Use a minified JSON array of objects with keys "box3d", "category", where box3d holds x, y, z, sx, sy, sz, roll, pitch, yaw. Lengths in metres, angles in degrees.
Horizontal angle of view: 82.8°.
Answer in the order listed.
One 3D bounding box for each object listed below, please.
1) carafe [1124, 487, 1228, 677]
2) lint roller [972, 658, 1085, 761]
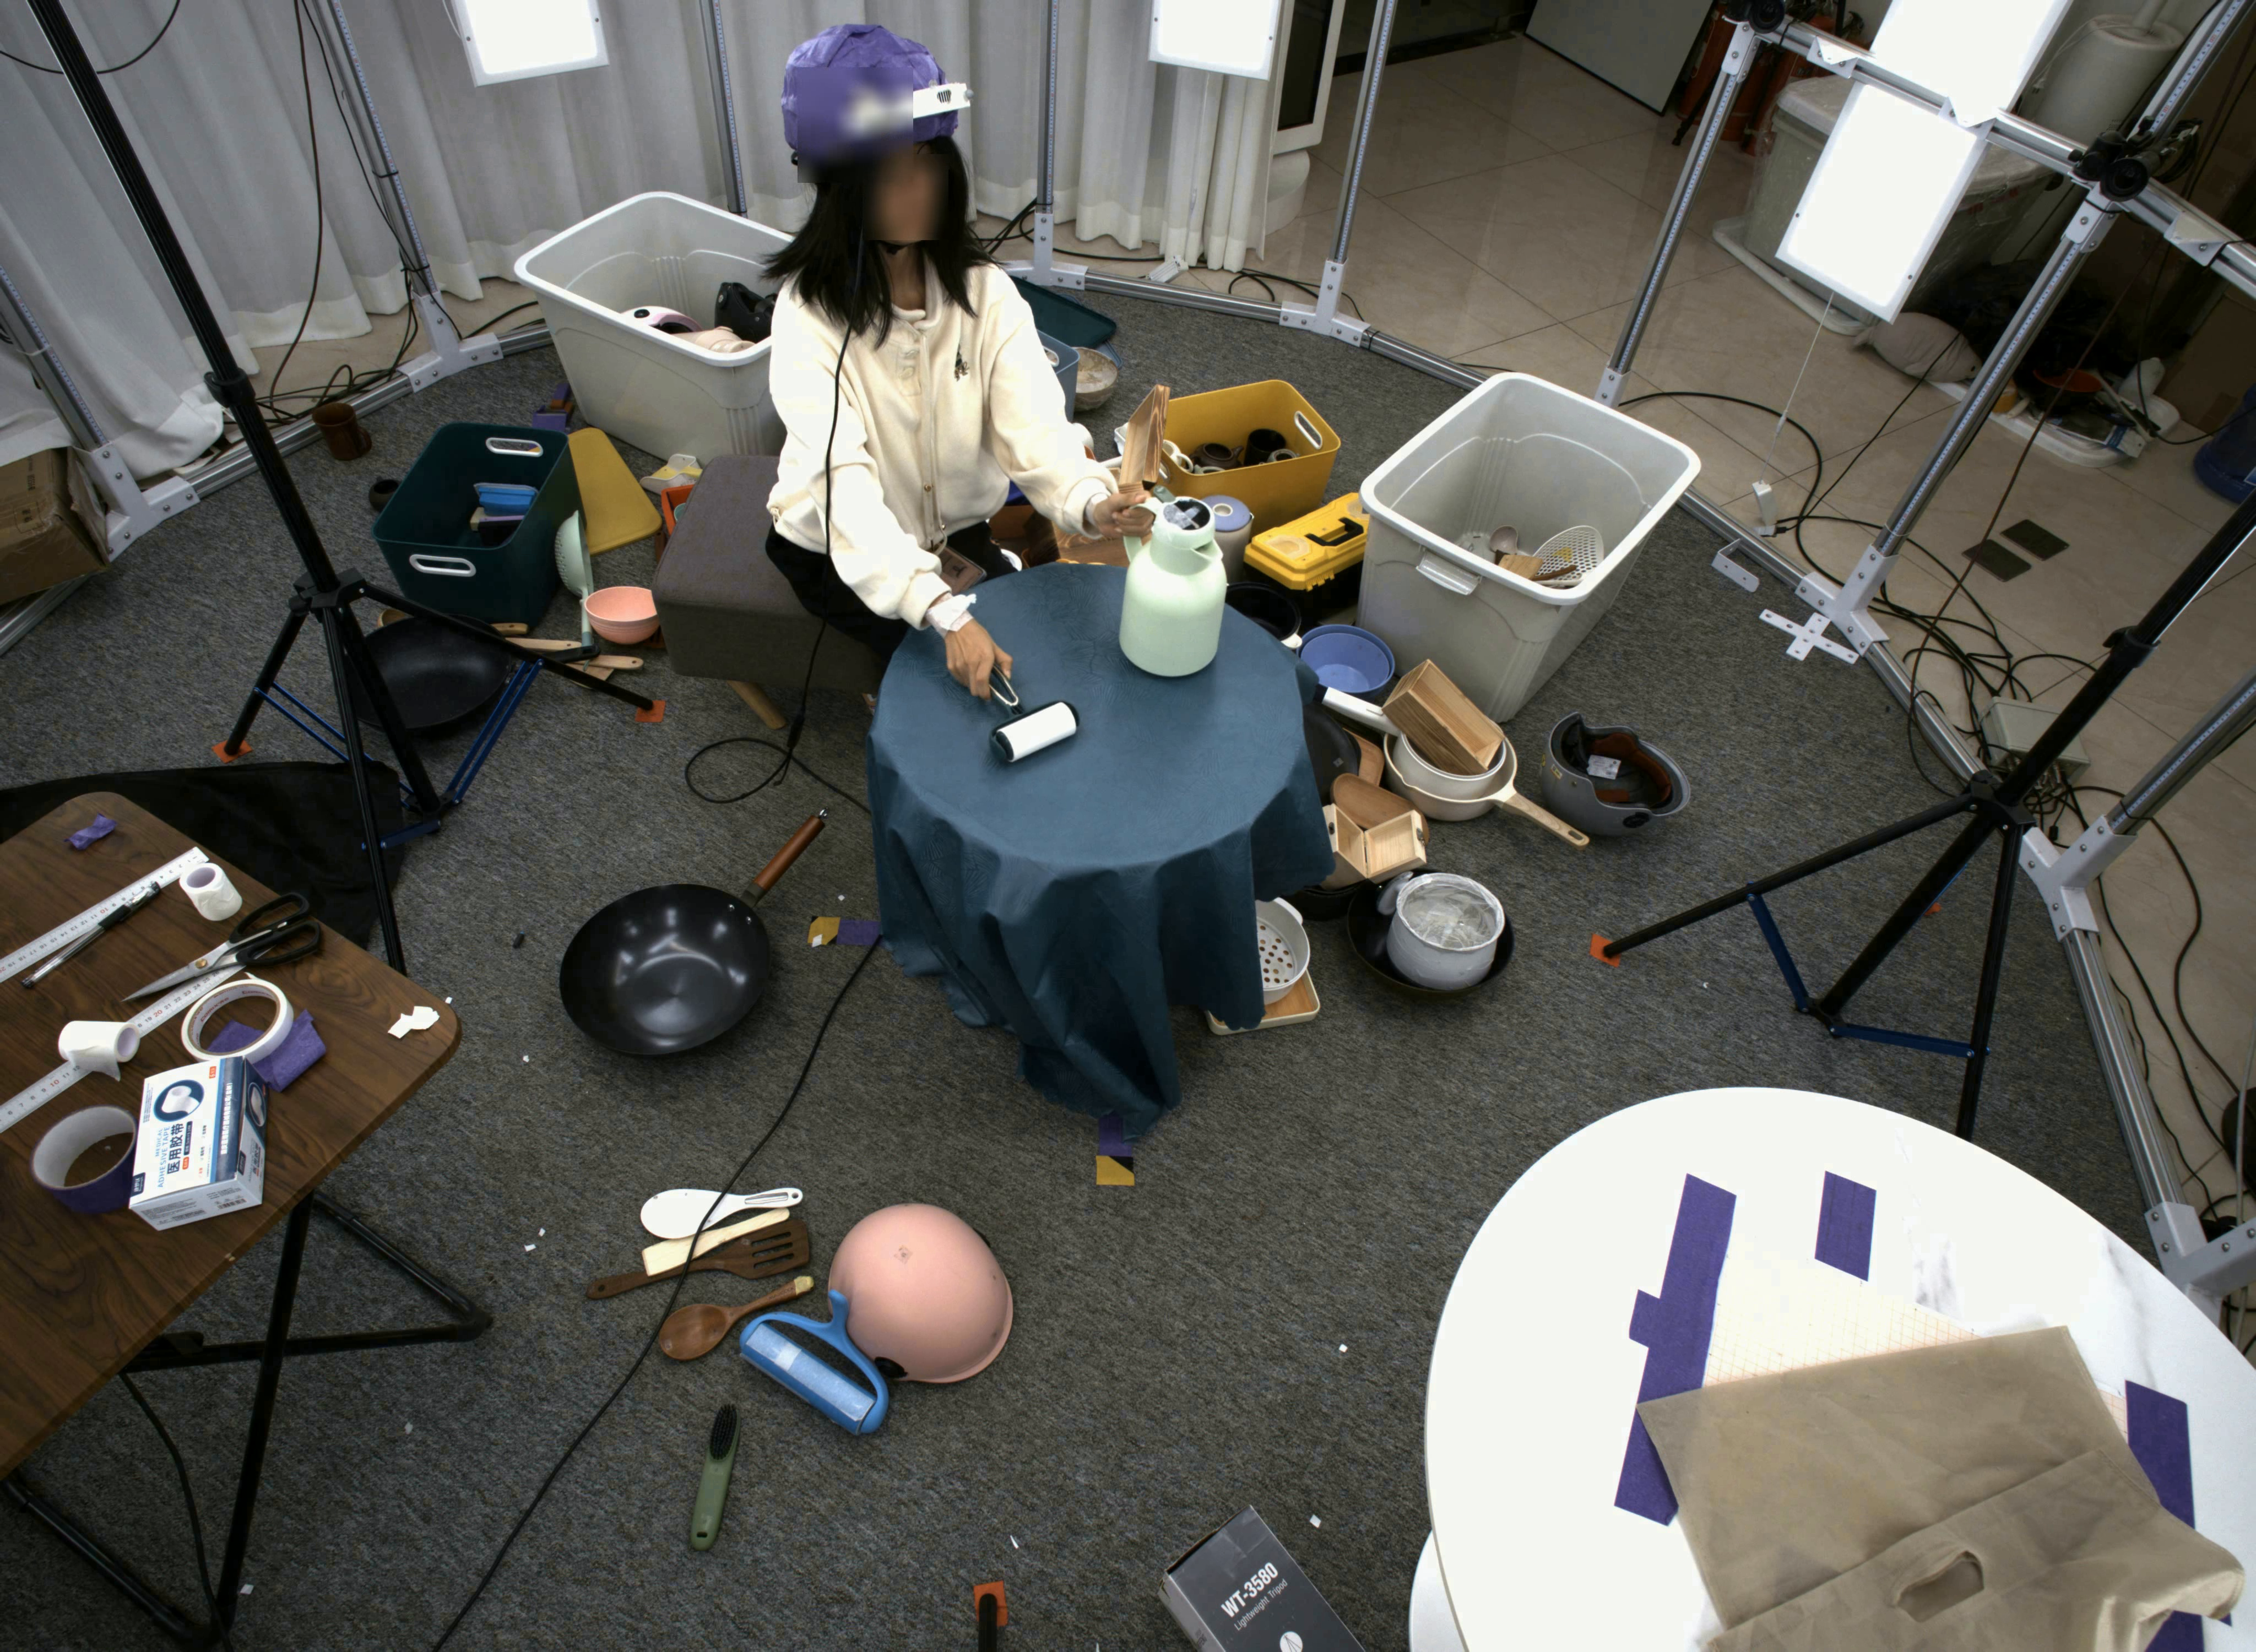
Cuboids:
[{"box3d":[0.062,-0.349,1.812,0.145,0.250,0.190,-29,57,-23],"category":"carafe"},{"box3d":[-0.161,-0.179,1.768,0.135,0.047,0.183,-25,65,-24],"category":"lint roller"}]
